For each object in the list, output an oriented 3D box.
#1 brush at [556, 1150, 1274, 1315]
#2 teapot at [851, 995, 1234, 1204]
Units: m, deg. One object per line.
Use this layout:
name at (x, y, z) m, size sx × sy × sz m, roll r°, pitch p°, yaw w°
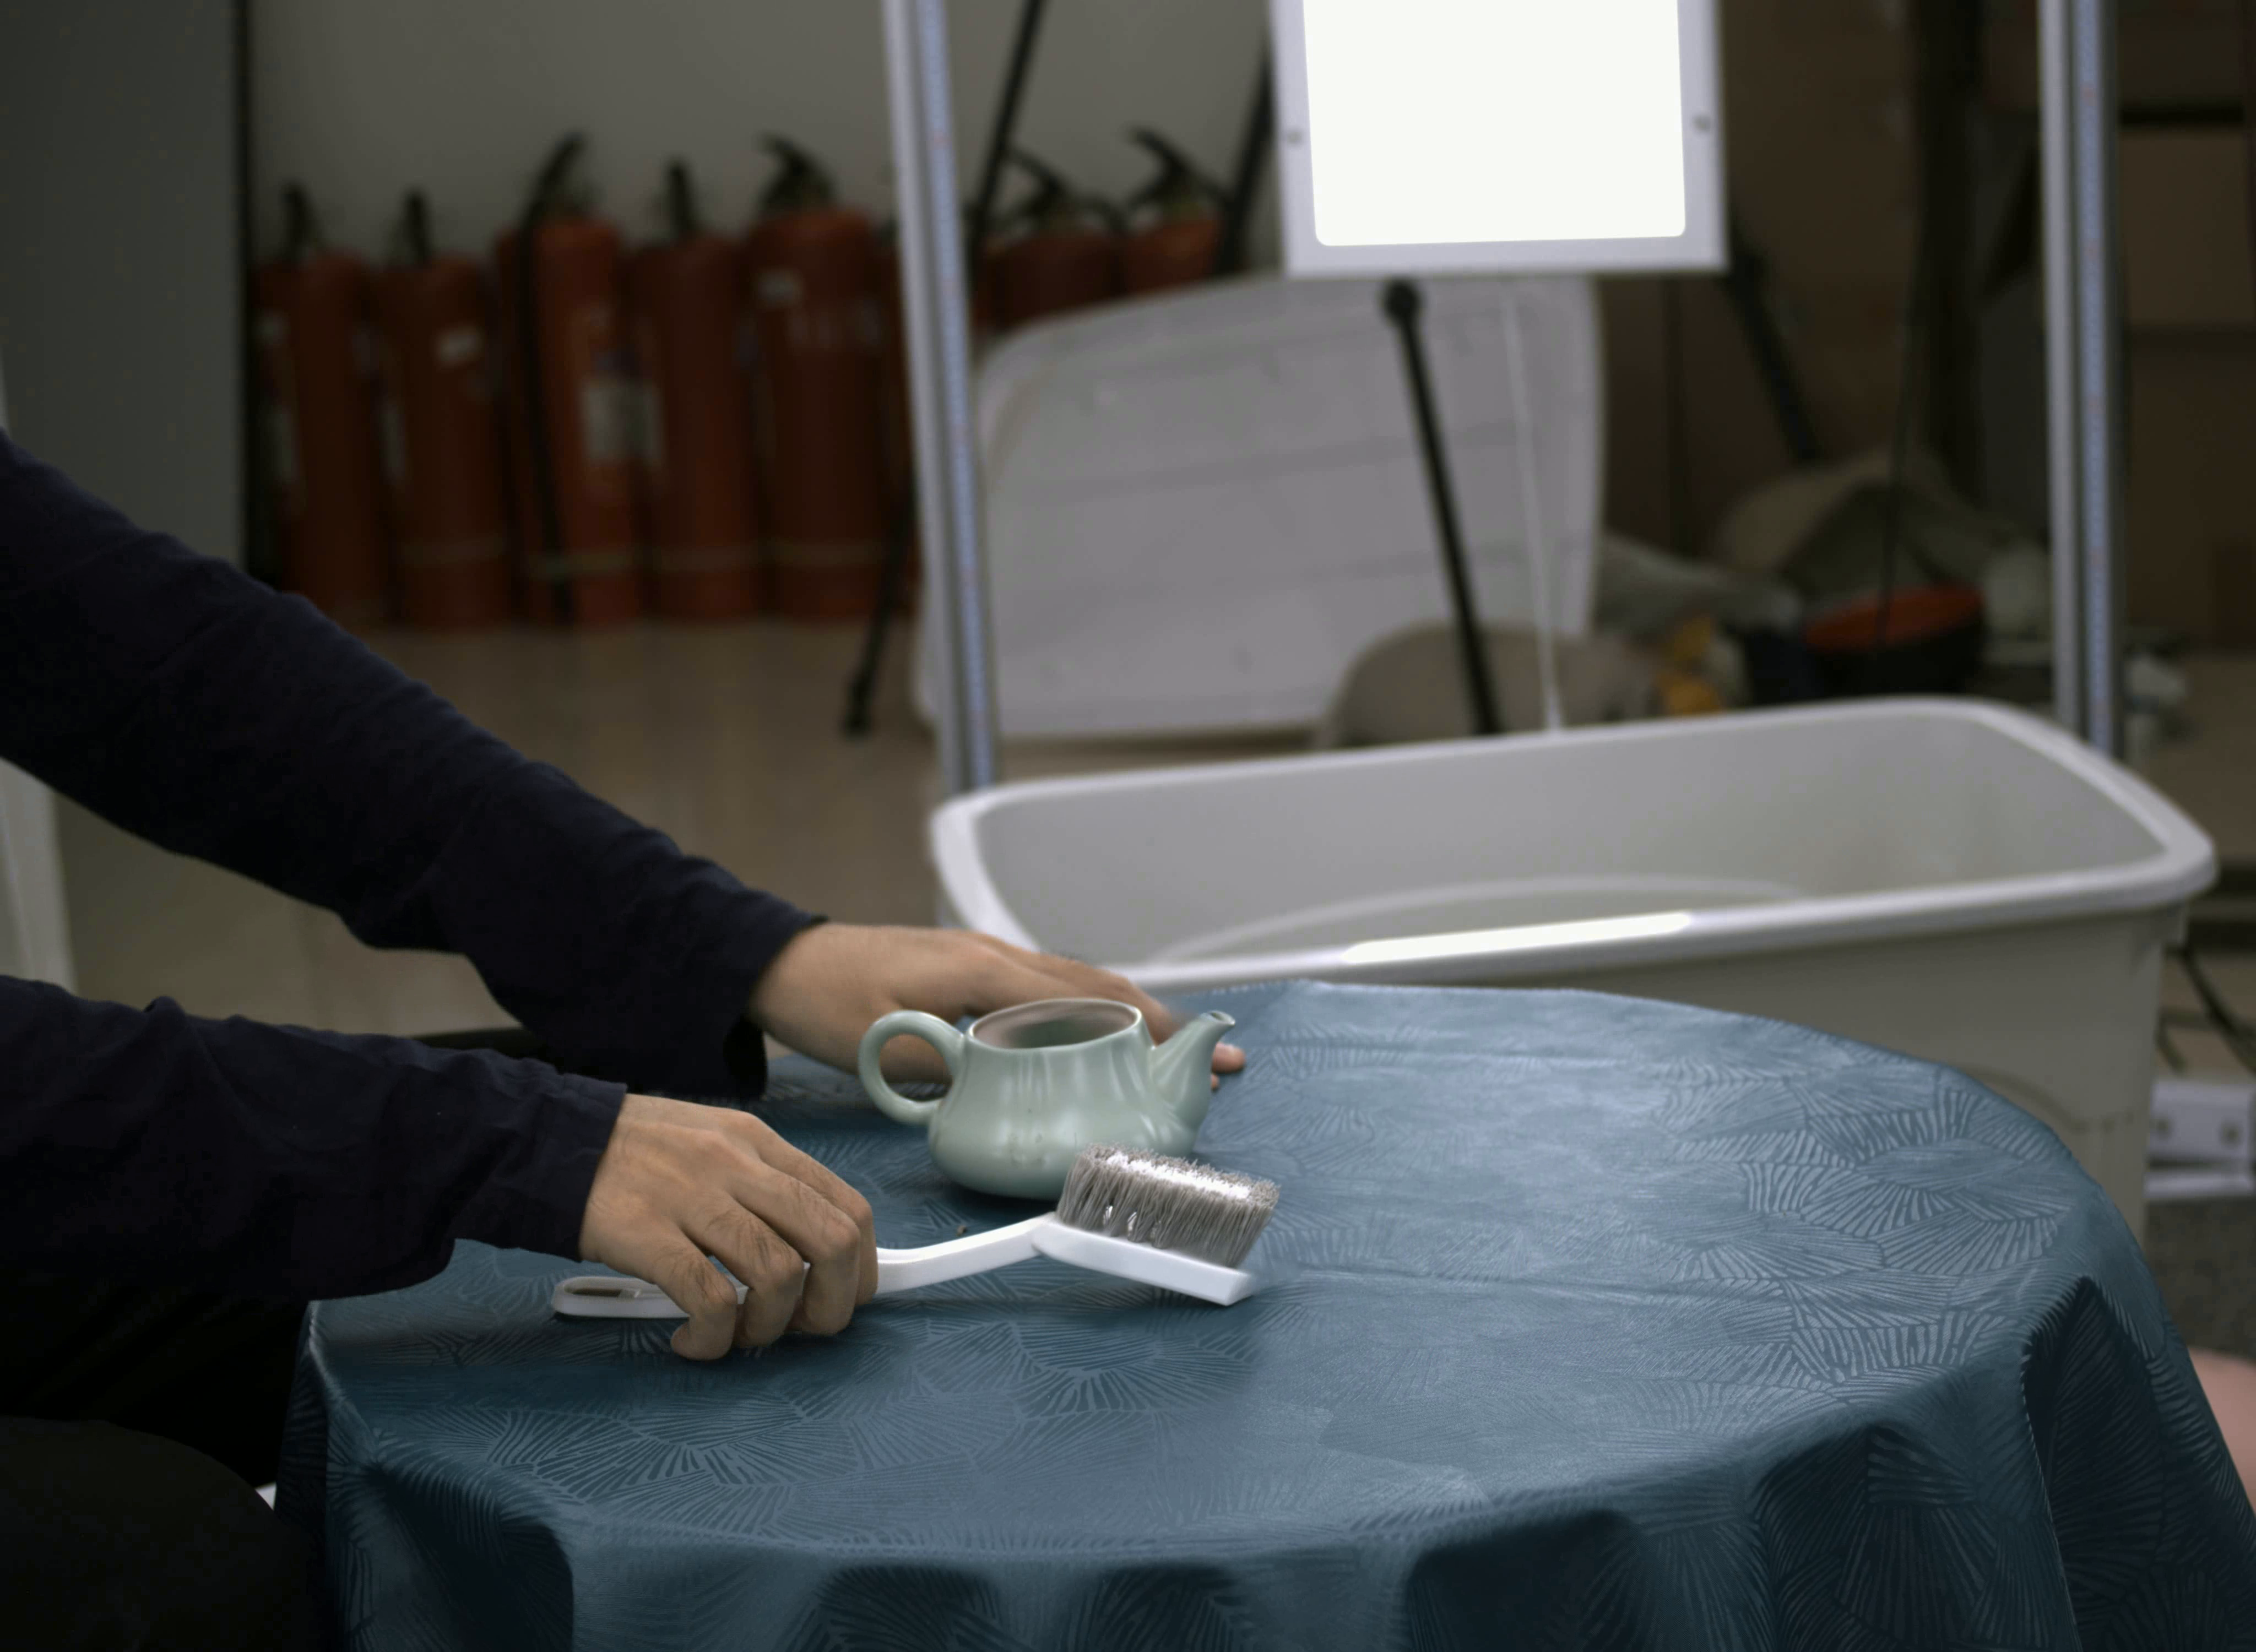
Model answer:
brush at (-0.072, 0.133, 1.801) m, size 0.246 × 0.050 × 0.034 m, roll -1°, pitch 19°, yaw 15°
teapot at (-0.029, 0.094, 1.916) m, size 0.138 × 0.061 × 0.095 m, roll -1°, pitch 17°, yaw 13°
